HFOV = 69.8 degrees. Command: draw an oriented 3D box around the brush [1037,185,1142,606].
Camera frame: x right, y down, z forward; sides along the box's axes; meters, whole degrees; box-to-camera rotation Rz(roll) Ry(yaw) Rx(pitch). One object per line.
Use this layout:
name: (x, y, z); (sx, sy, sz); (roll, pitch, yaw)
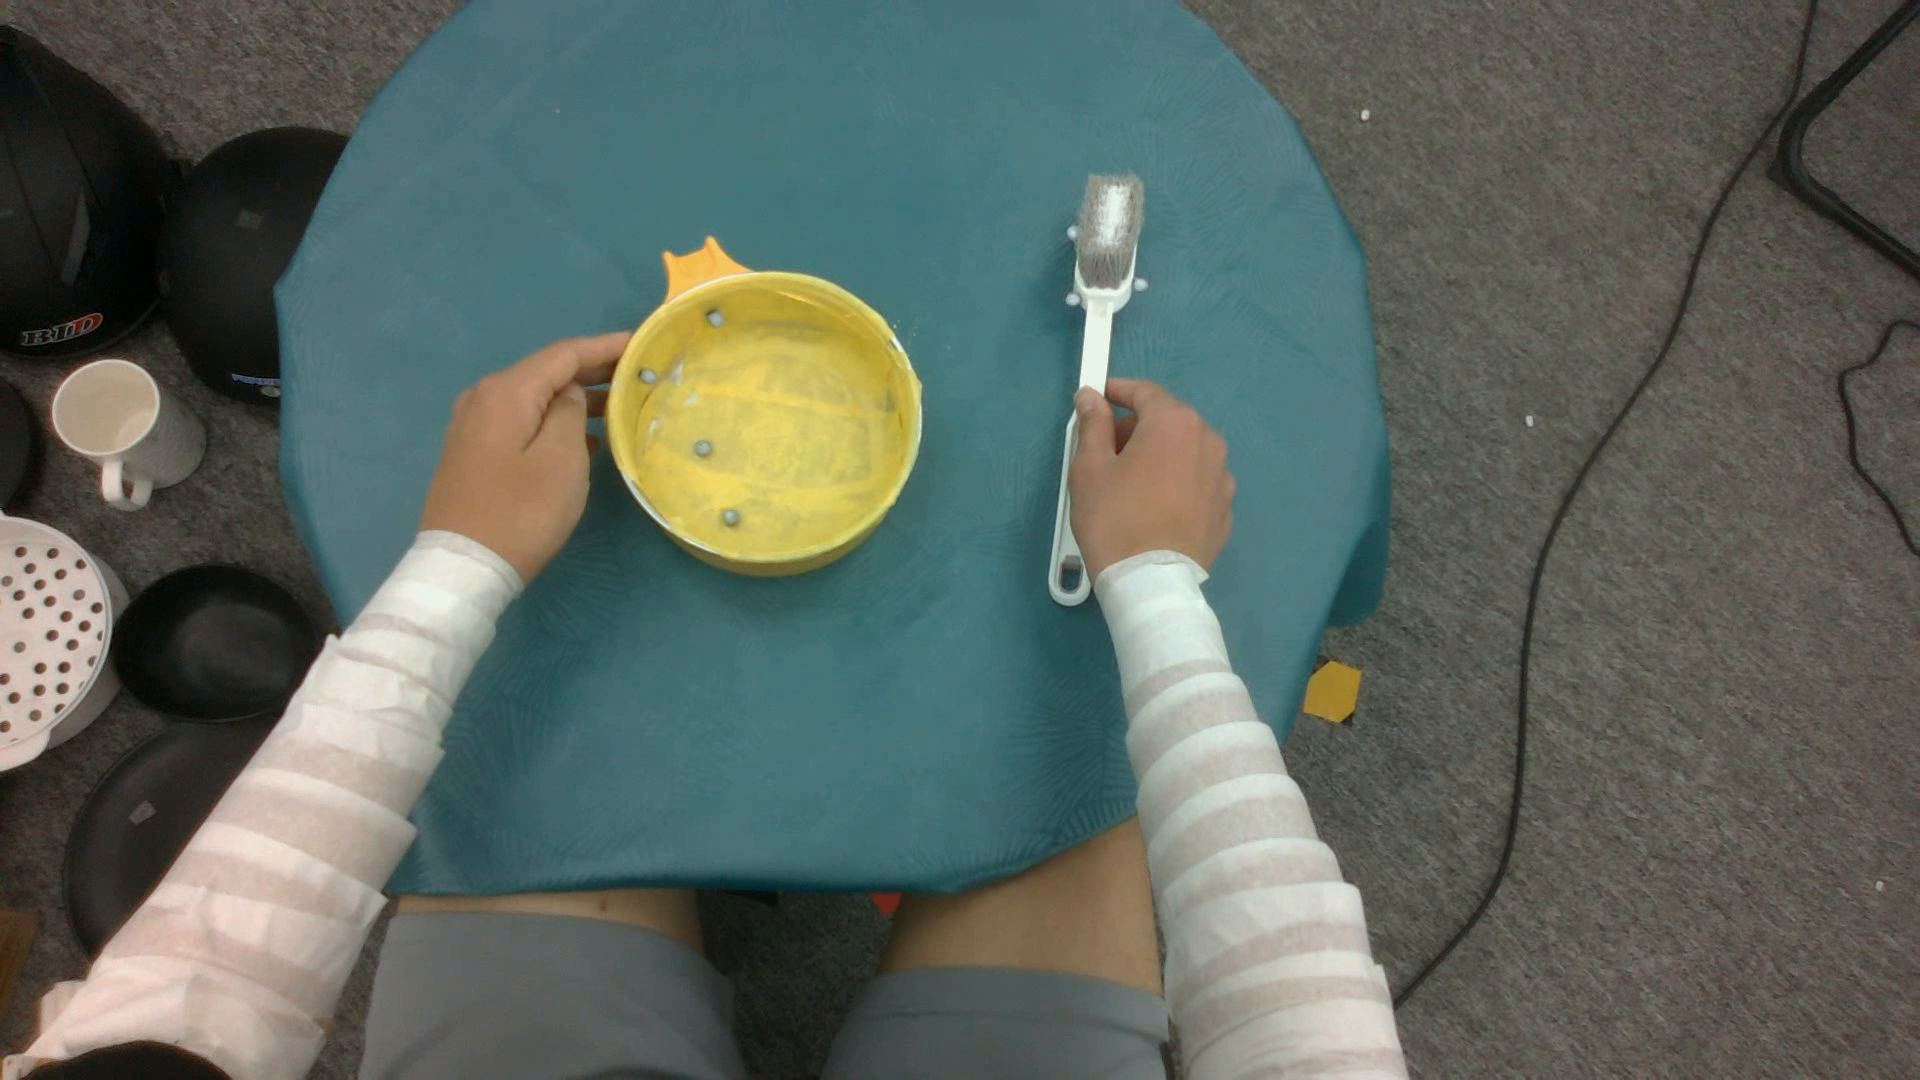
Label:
brush: (0.070, -0.085, 0.754); (0.034, 0.050, 0.244); (8, 72, 9)

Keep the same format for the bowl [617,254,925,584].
bowl: (-0.101, -0.063, 0.721); (0.153, 0.074, 0.179); (-28, 78, -9)
